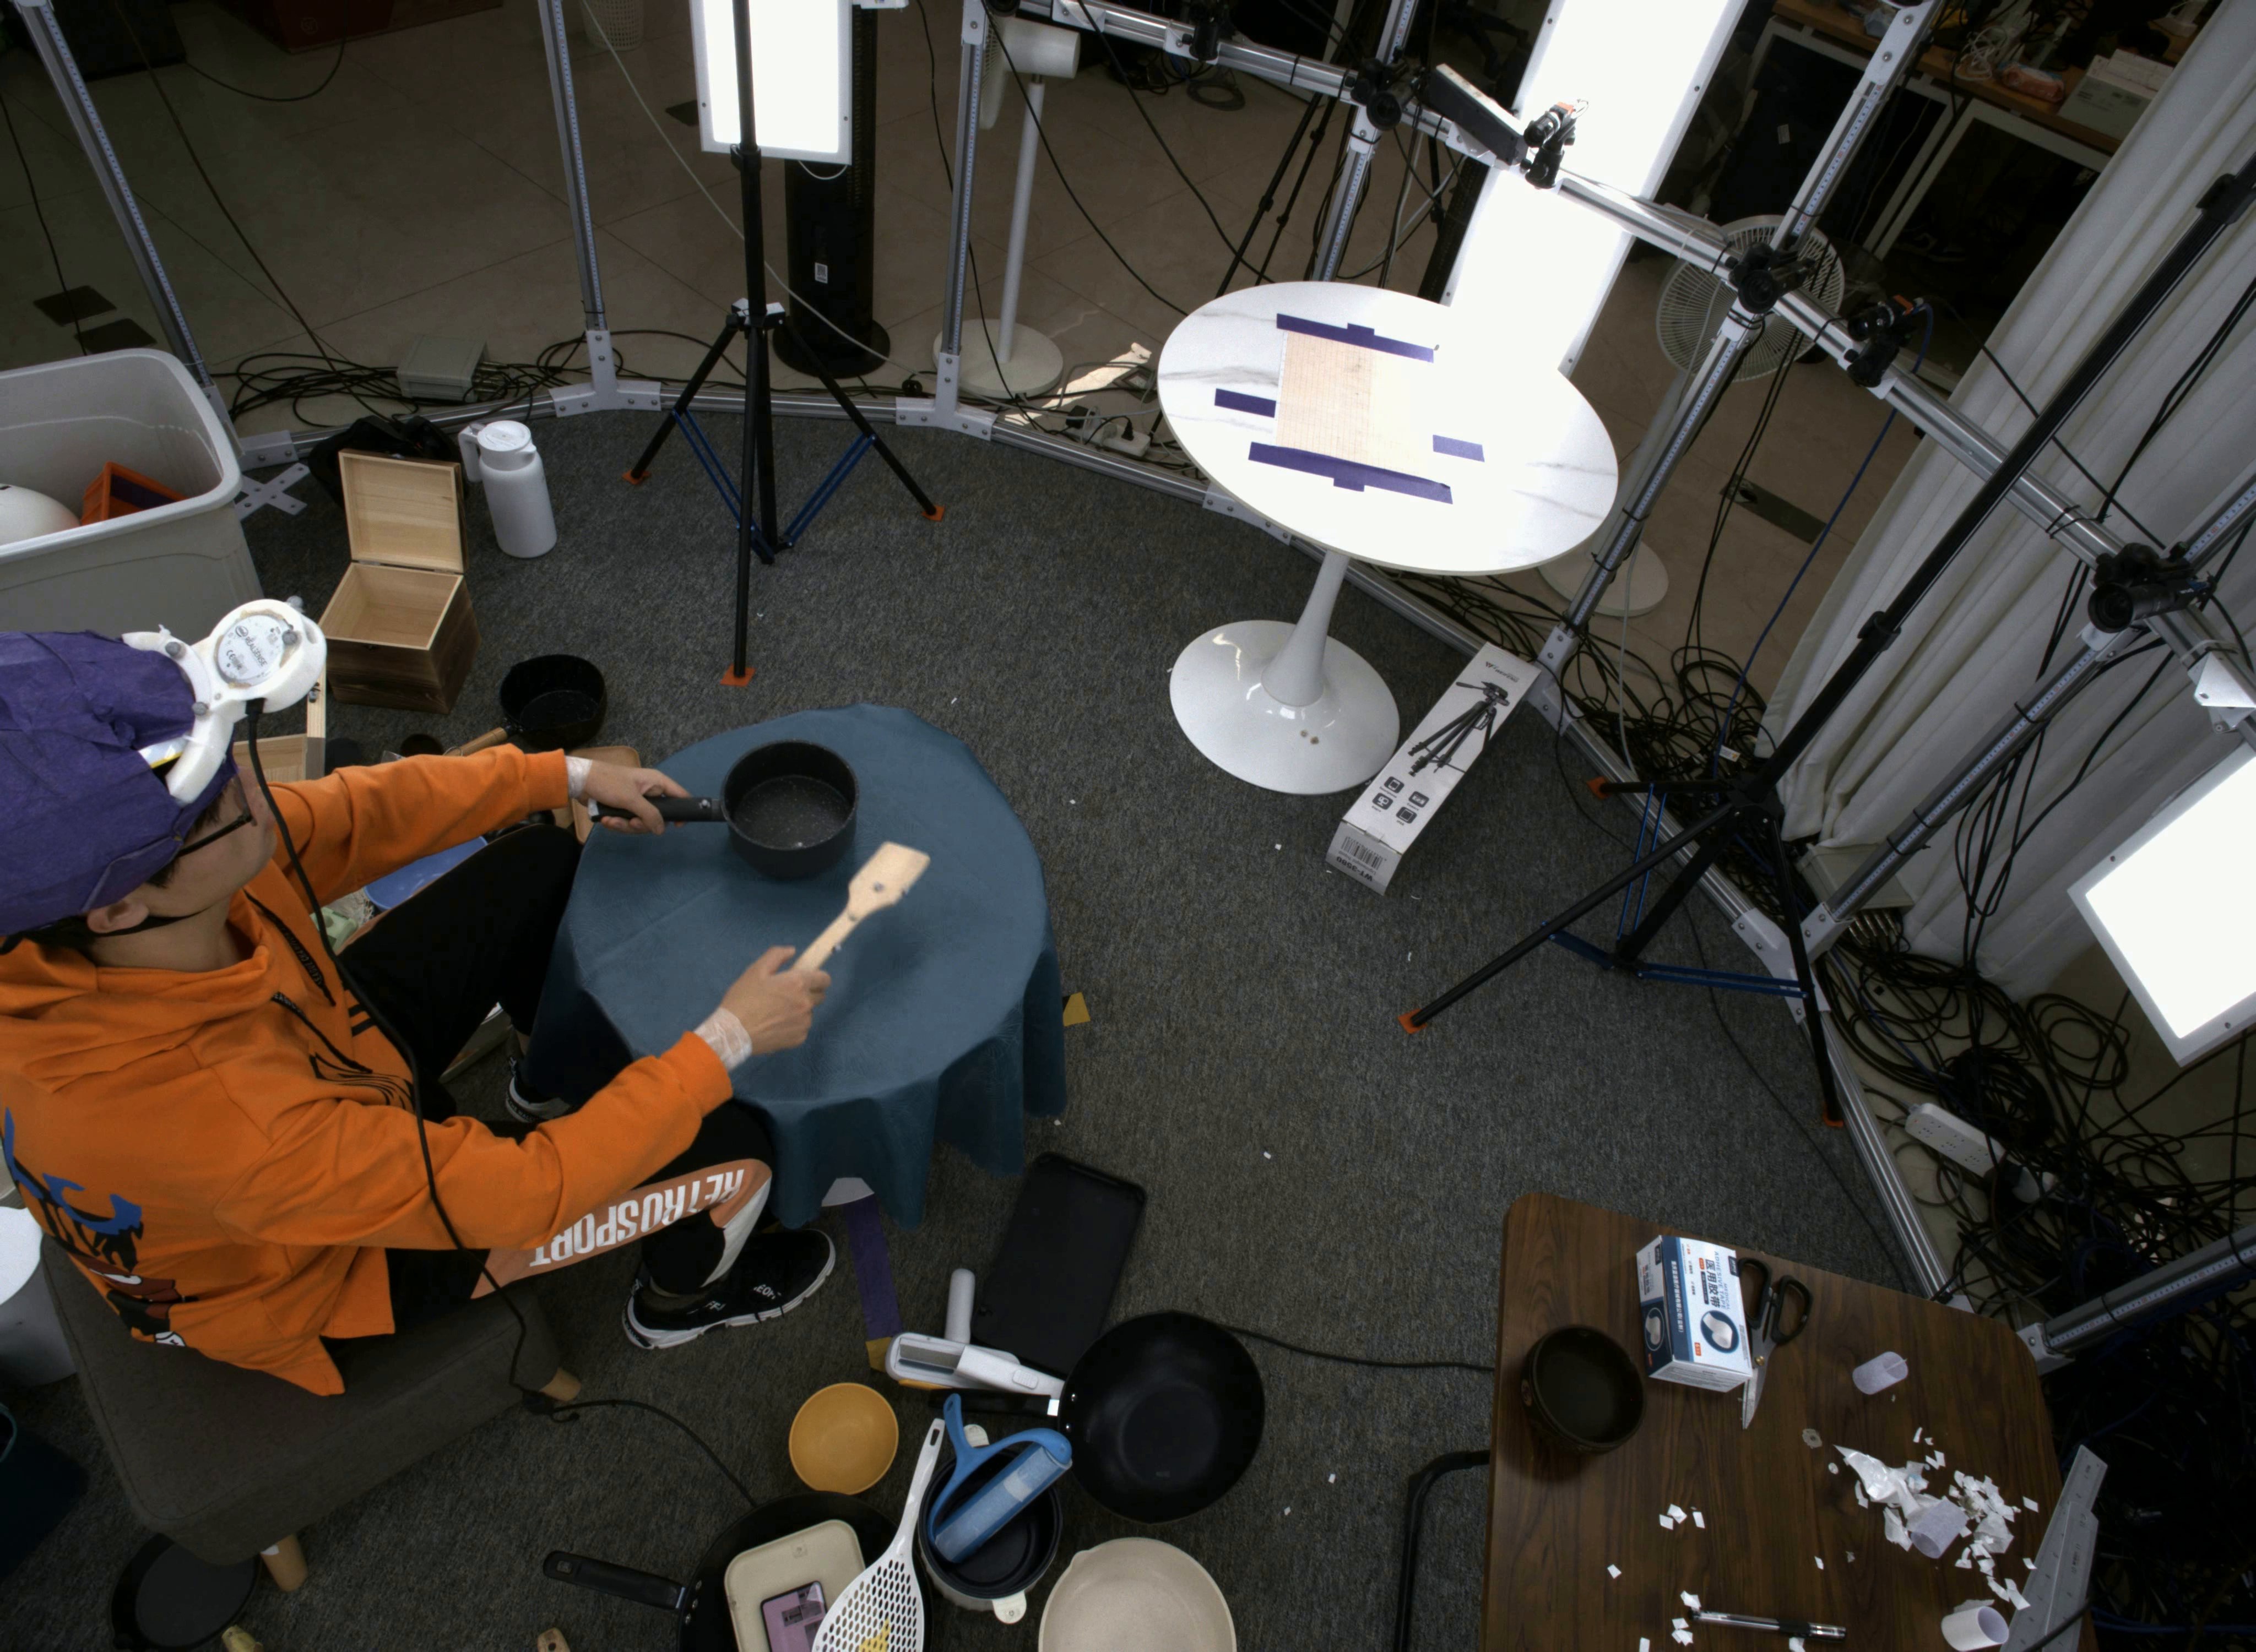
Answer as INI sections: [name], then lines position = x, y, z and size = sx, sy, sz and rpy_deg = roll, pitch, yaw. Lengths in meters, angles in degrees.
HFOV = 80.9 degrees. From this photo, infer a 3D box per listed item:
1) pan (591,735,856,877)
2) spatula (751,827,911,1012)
[pan]
position = -0.507, -0.021, 1.621
size = 0.330, 0.088, 0.168
rpy_deg = -2, 57, -16
[spatula]
position = -0.346, 0.102, 1.505
size = 0.070, 0.011, 0.291
rpy_deg = 6, 45, 27
